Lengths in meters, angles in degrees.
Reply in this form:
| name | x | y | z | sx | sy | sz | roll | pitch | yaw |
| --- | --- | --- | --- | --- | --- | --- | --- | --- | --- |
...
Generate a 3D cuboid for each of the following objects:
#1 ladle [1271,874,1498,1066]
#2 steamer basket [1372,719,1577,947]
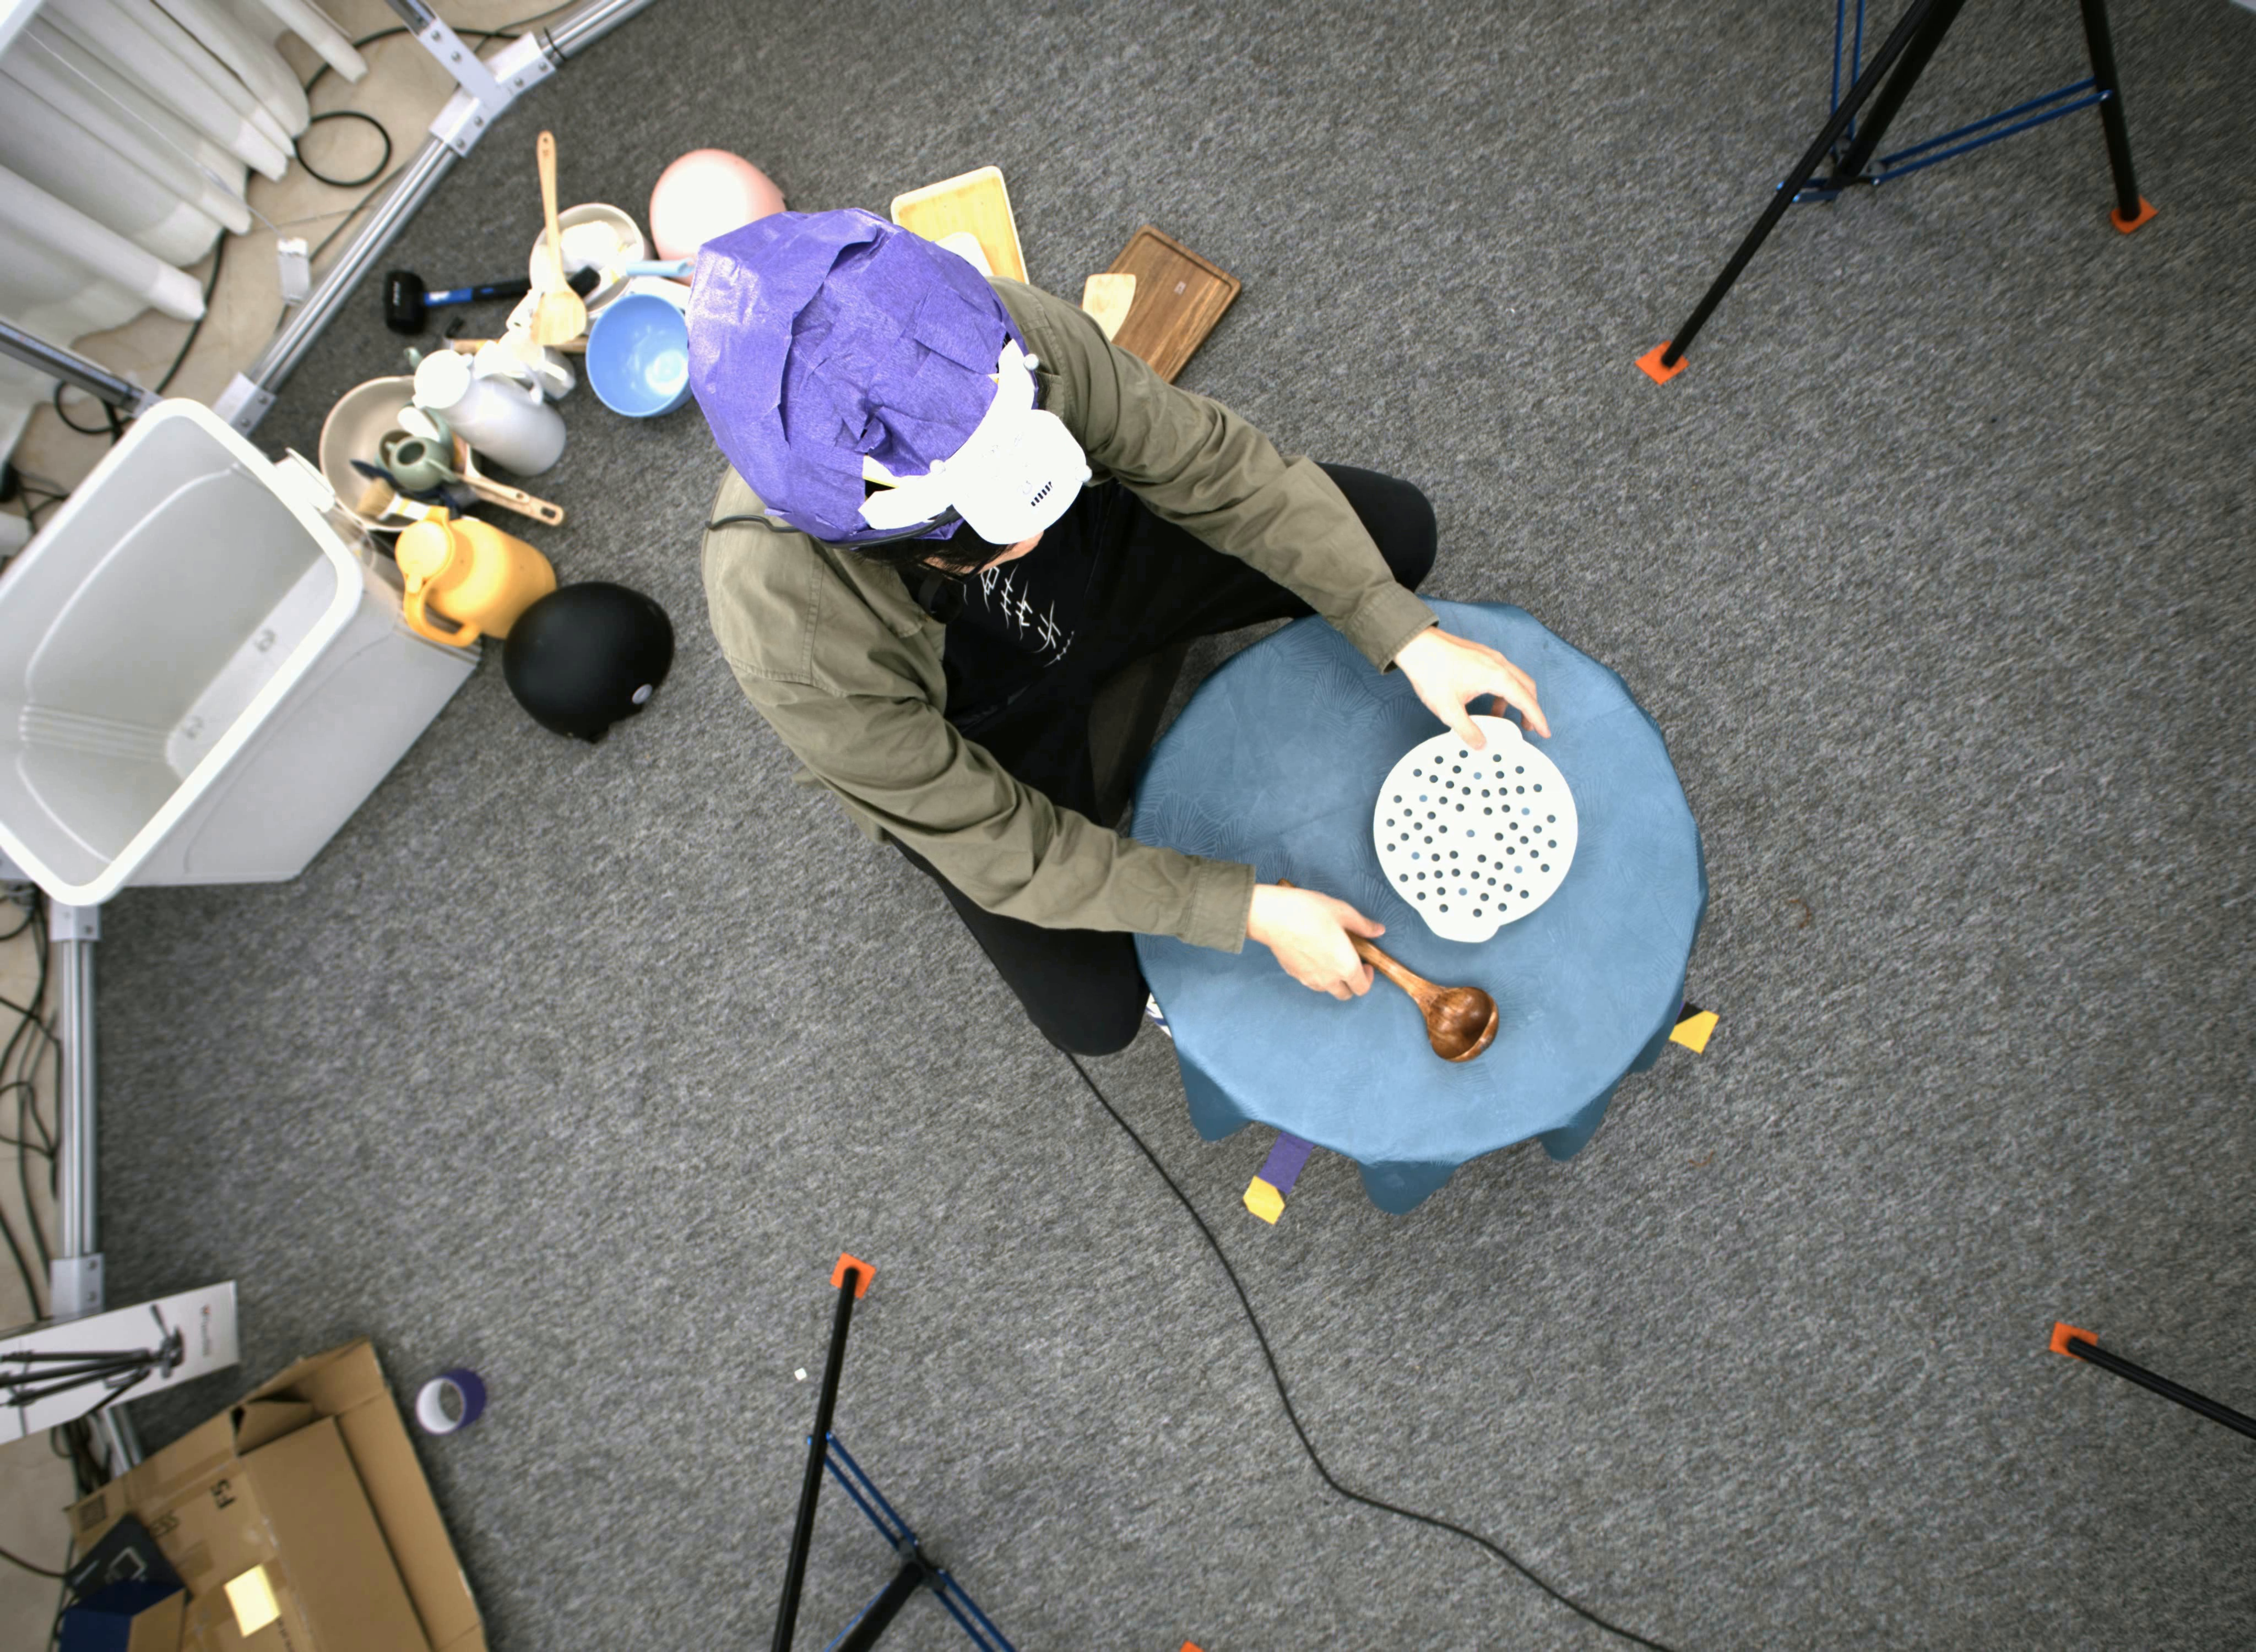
| name | x | y | z | sx | sy | sz | roll | pitch | yaw |
| --- | --- | --- | --- | --- | --- | --- | --- | --- | --- |
| ladle | 0.254 | 0.140 | 1.410 | 0.273 | 0.076 | 0.082 | 37 | 95 | 10 |
| steamer basket | 0.350 | 0.007 | 1.403 | 0.202 | 0.069 | 0.230 | 8 | 88 | 10 |
